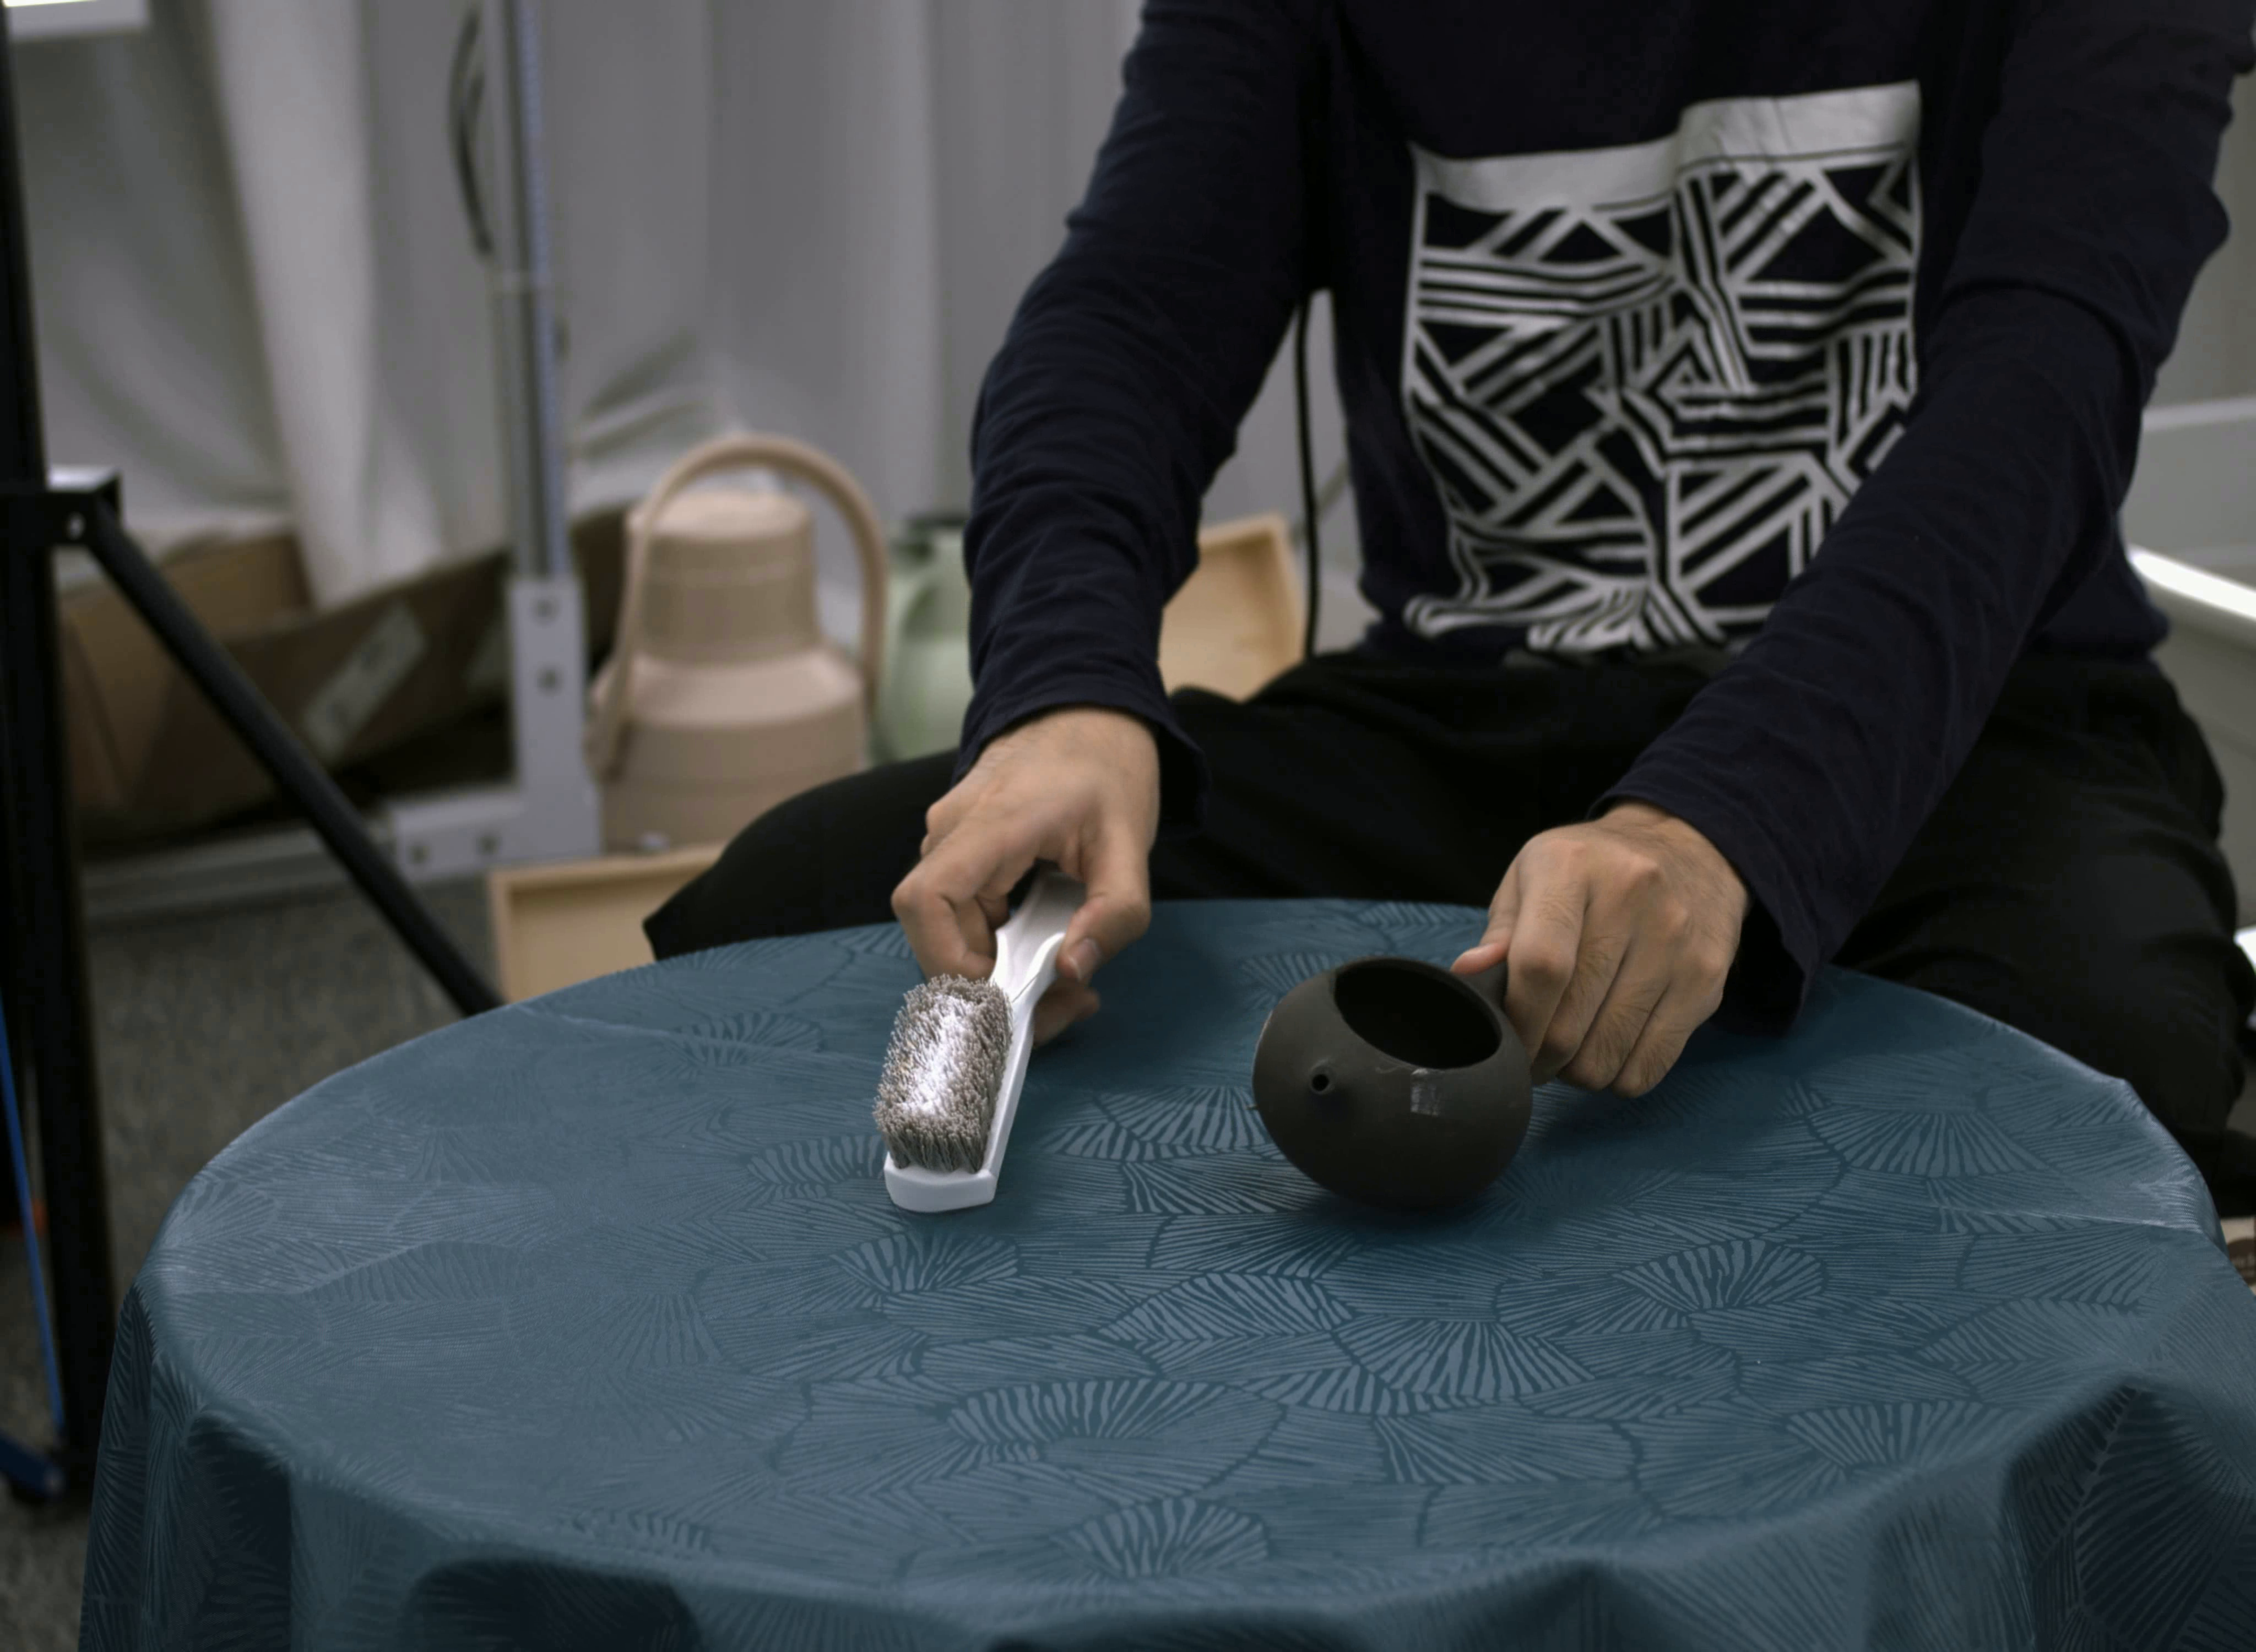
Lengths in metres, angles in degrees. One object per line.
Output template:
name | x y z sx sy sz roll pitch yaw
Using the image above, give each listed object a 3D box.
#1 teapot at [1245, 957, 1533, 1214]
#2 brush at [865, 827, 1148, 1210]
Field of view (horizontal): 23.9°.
teapot | 0.083 0.071 1.547 0.084 0.053 0.112 35 39 28
brush | -0.033 0.041 1.639 0.034 0.050 0.243 1 27 15
